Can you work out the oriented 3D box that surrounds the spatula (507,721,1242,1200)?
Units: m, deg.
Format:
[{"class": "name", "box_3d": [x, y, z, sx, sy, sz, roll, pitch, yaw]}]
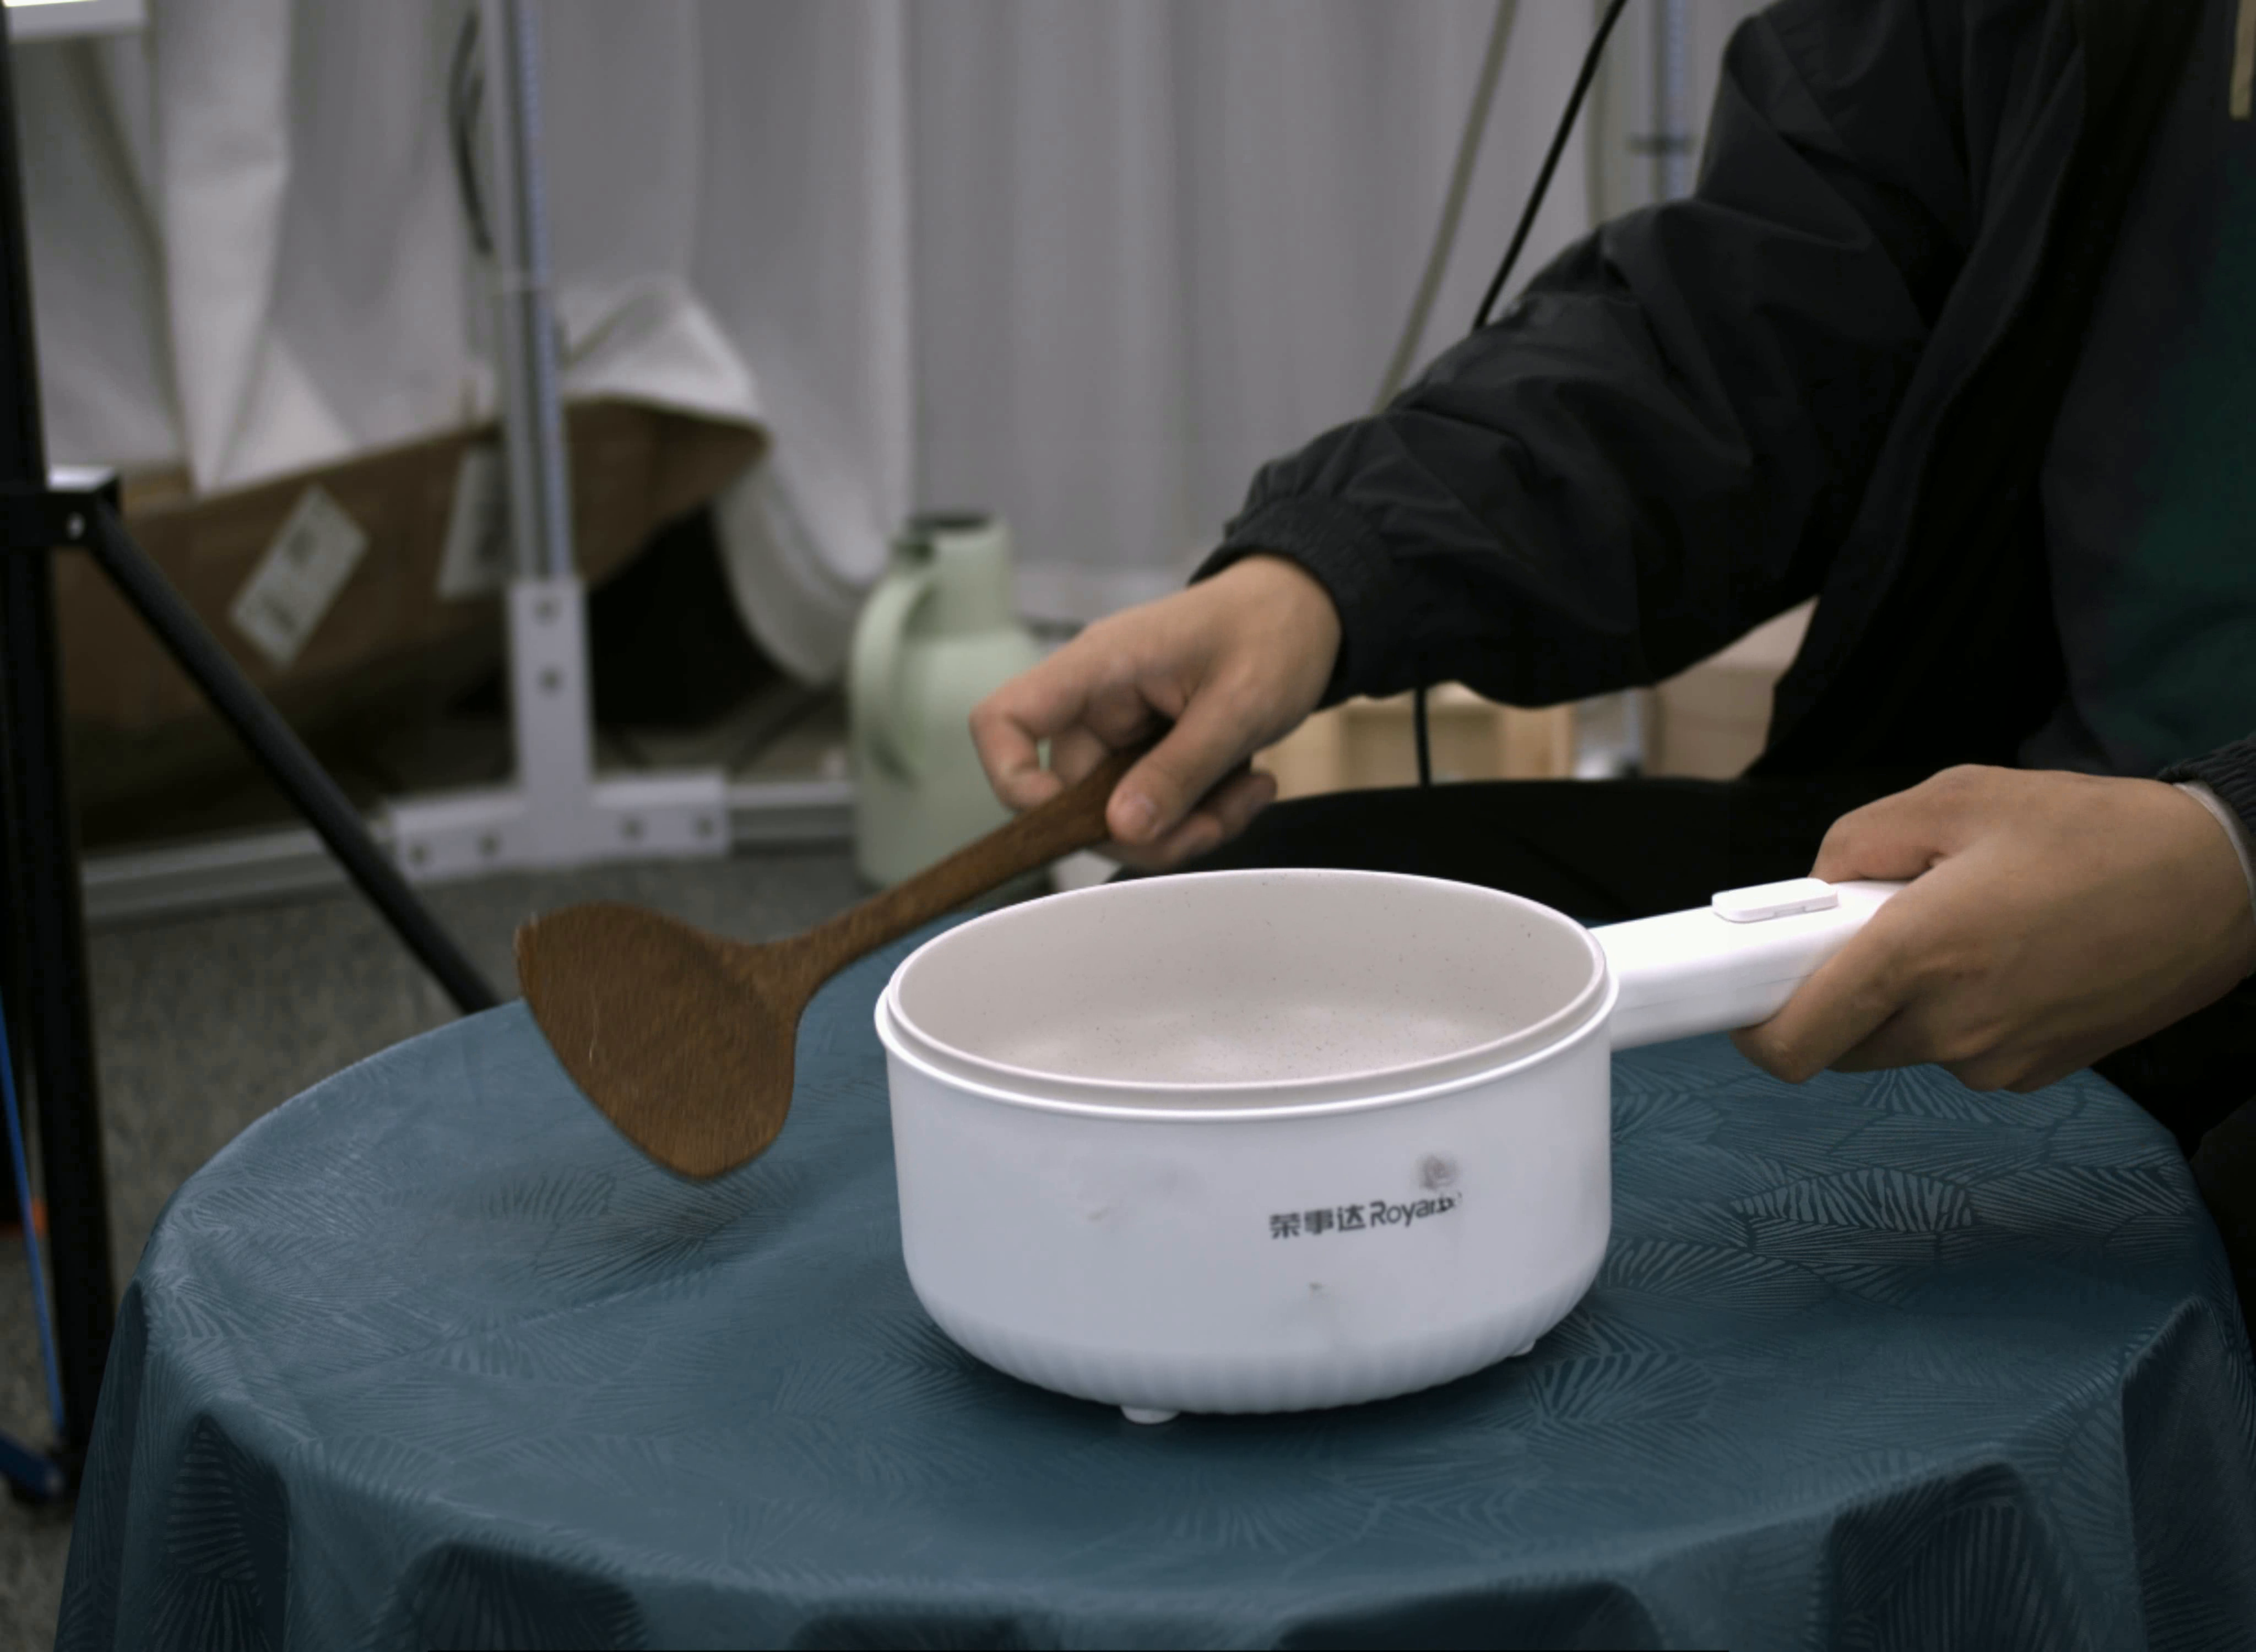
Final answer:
[{"class": "spatula", "box_3d": [-0.062, 0.025, 1.668, 0.016, 0.097, 0.379, -45, -10, 35]}]

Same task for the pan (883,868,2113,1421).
[{"class": "pan", "box_3d": [0.107, 0.080, 1.461, 0.348, 0.102, 0.204, -7, 15, -18]}]
